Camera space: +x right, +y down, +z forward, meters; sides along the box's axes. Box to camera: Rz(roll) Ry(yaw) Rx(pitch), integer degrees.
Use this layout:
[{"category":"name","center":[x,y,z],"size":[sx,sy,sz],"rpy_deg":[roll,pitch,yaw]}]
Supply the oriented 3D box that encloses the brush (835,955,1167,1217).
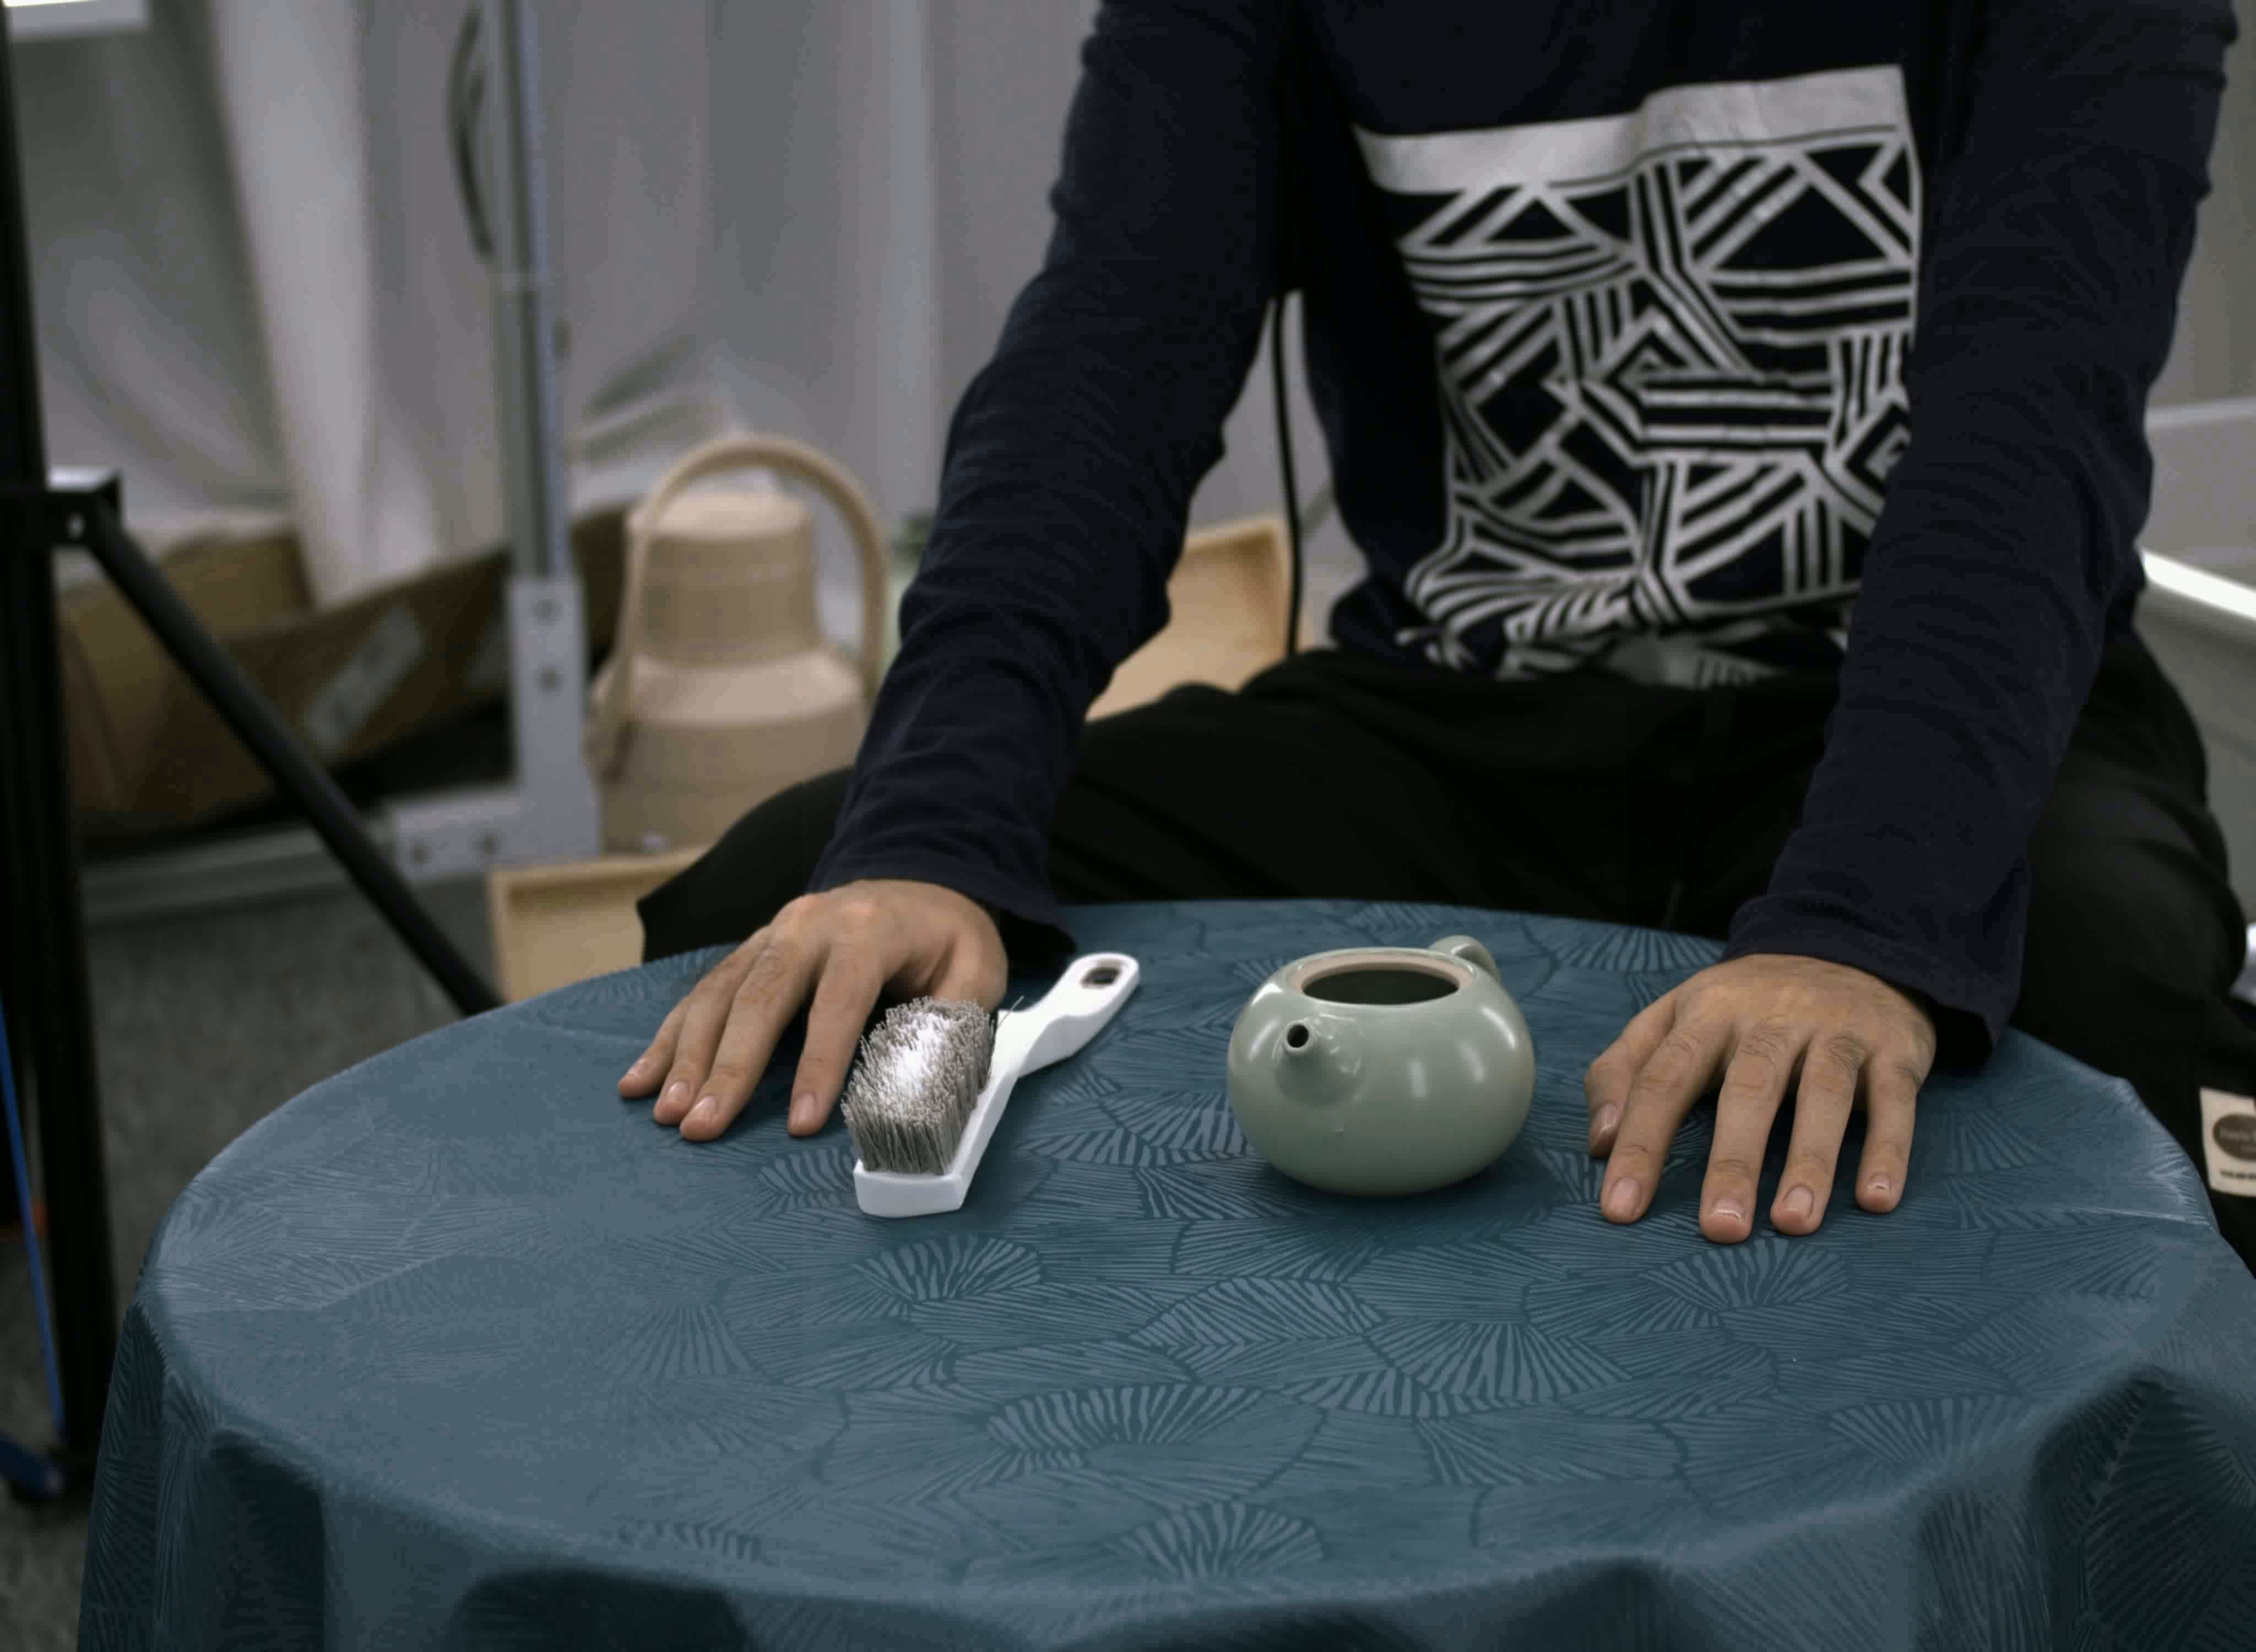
[{"category":"brush","center":[-0.035,0.060,1.646],"size":[0.035,0.050,0.241],"rpy_deg":[-1,16,19]}]

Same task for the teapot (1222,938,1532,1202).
[{"category":"teapot","center":[0.079,0.072,1.571],"size":[0.093,0.061,0.126],"rpy_deg":[3,15,37]}]
